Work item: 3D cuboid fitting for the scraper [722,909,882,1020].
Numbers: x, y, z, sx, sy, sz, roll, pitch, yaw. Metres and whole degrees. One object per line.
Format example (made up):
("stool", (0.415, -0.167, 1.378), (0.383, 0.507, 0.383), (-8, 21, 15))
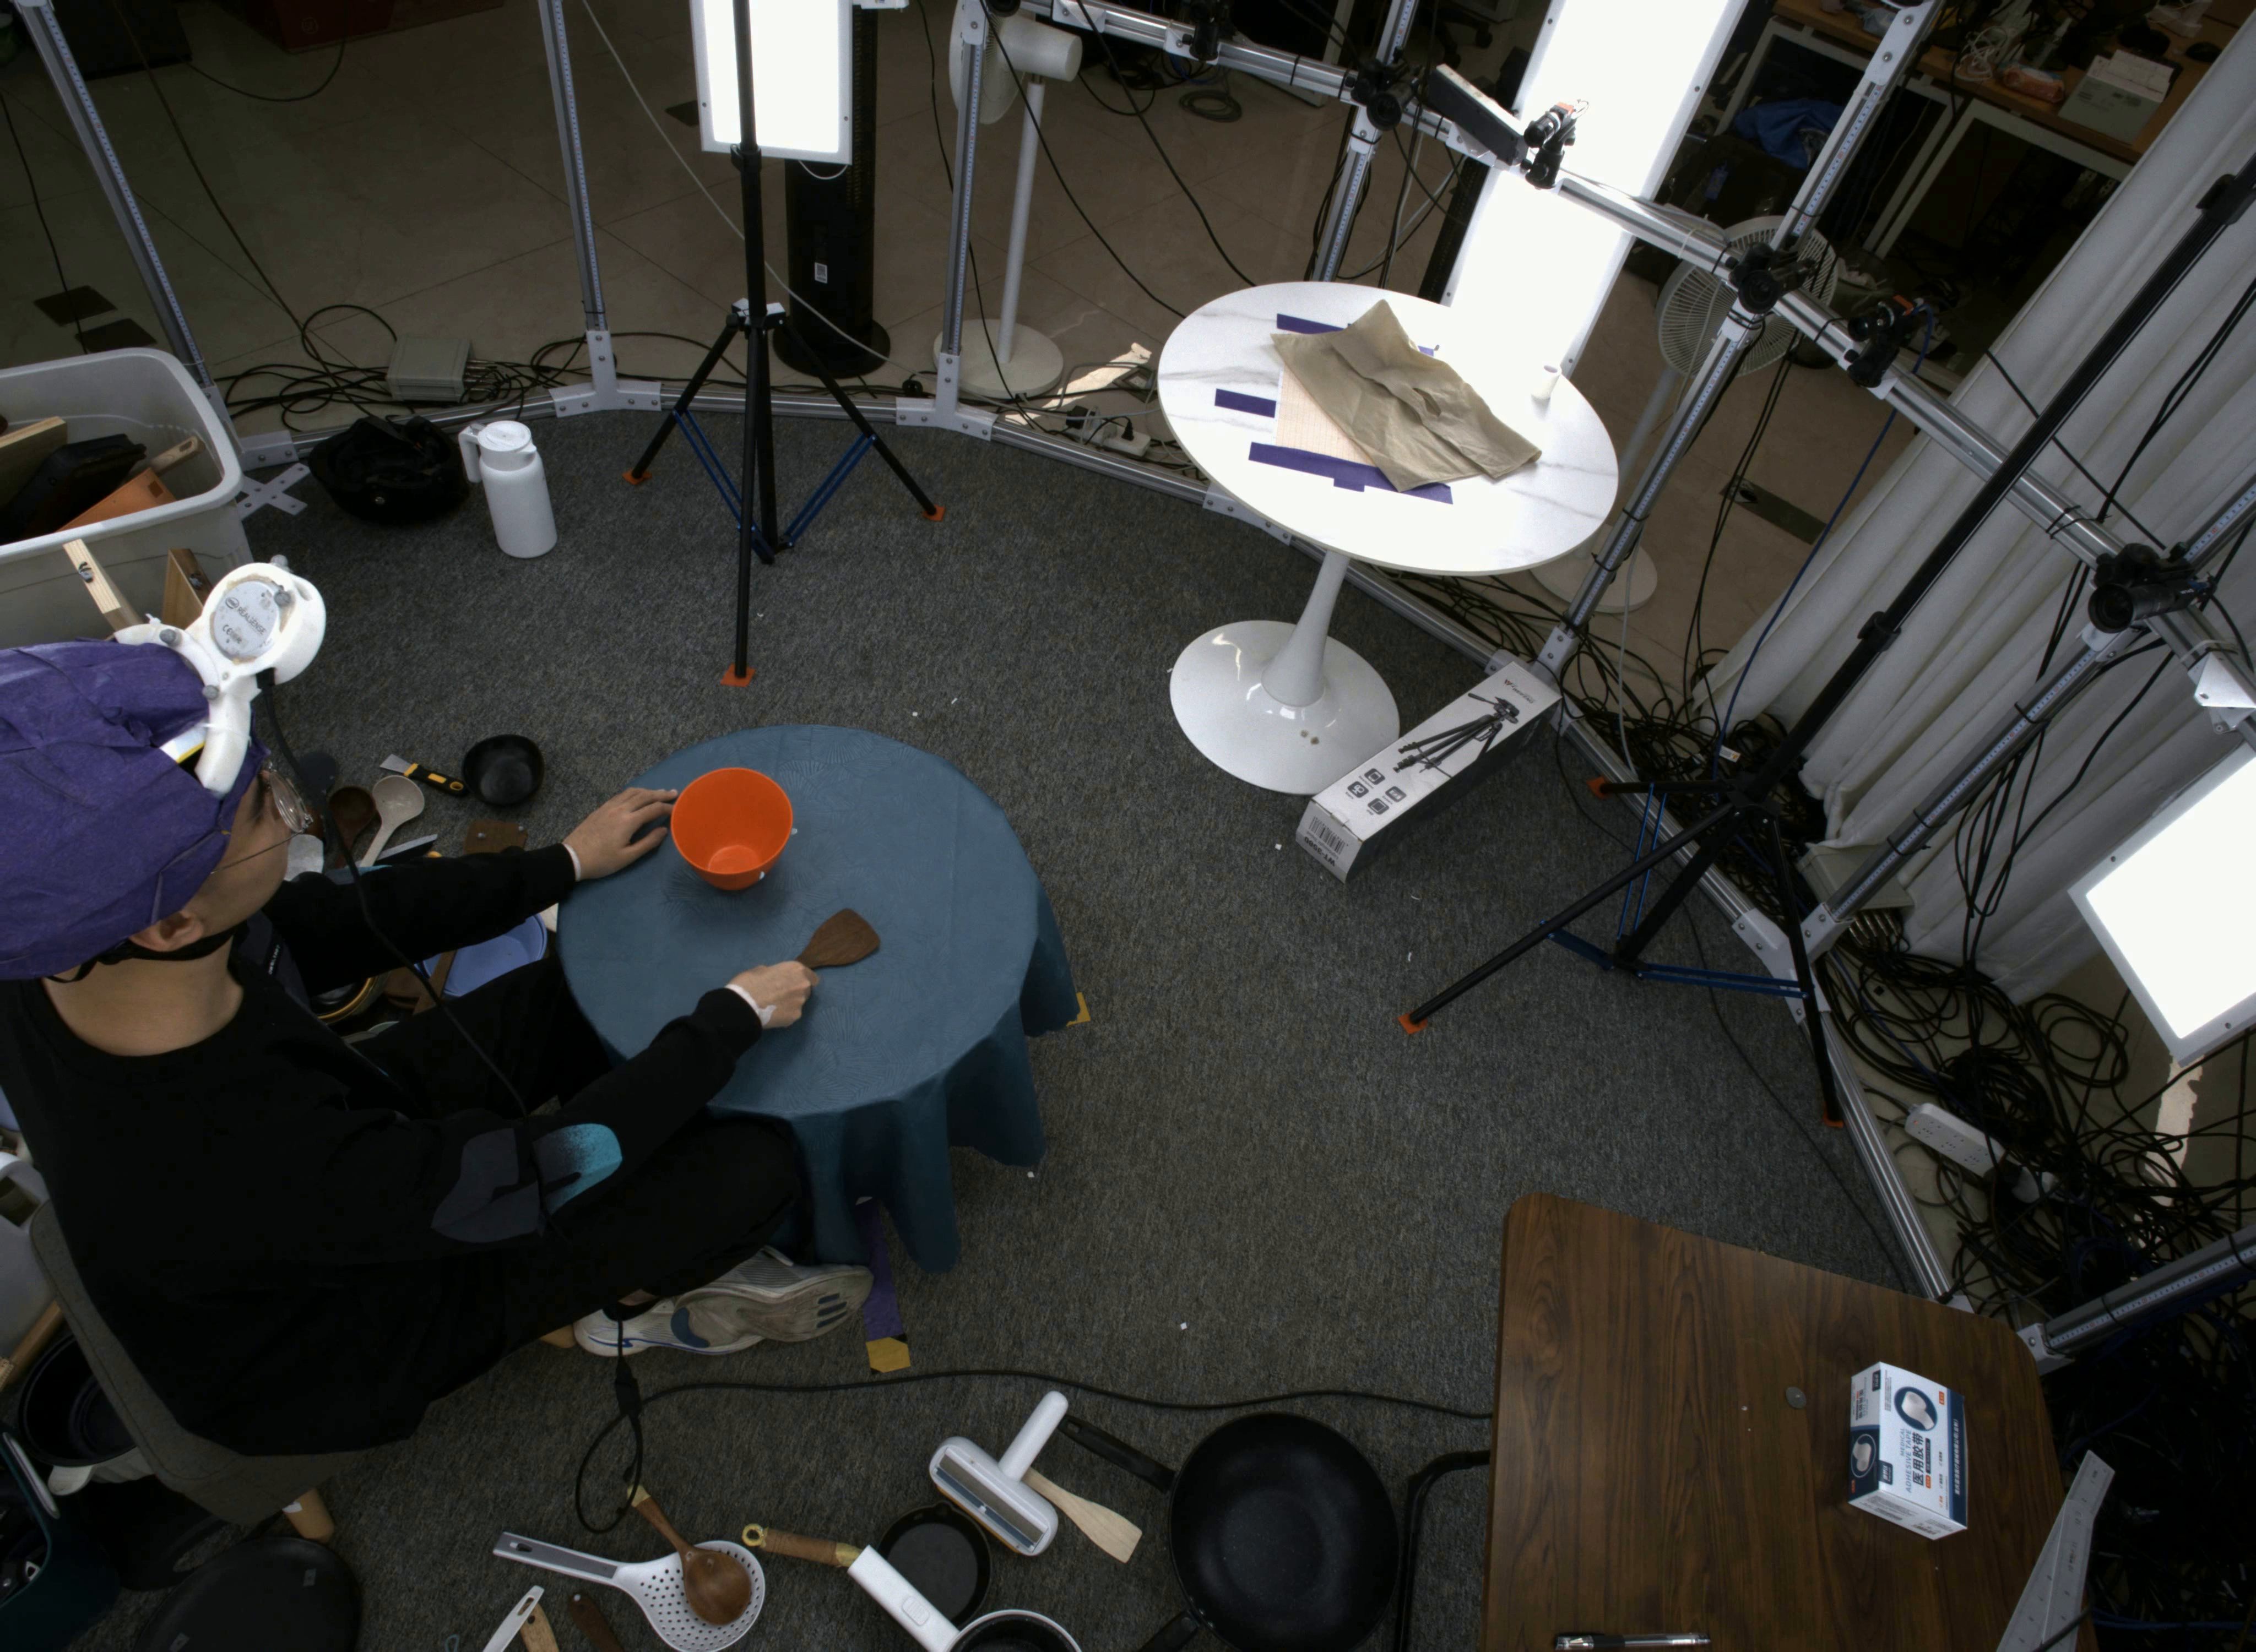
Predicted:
("scraper", (-0.405, 0.173, 1.599), (0.212, 0.011, 0.074), (-33, 66, -32))

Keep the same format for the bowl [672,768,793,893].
("bowl", (-0.497, 0.017, 1.634), (0.148, 0.106, 0.145), (7, 54, -8))
